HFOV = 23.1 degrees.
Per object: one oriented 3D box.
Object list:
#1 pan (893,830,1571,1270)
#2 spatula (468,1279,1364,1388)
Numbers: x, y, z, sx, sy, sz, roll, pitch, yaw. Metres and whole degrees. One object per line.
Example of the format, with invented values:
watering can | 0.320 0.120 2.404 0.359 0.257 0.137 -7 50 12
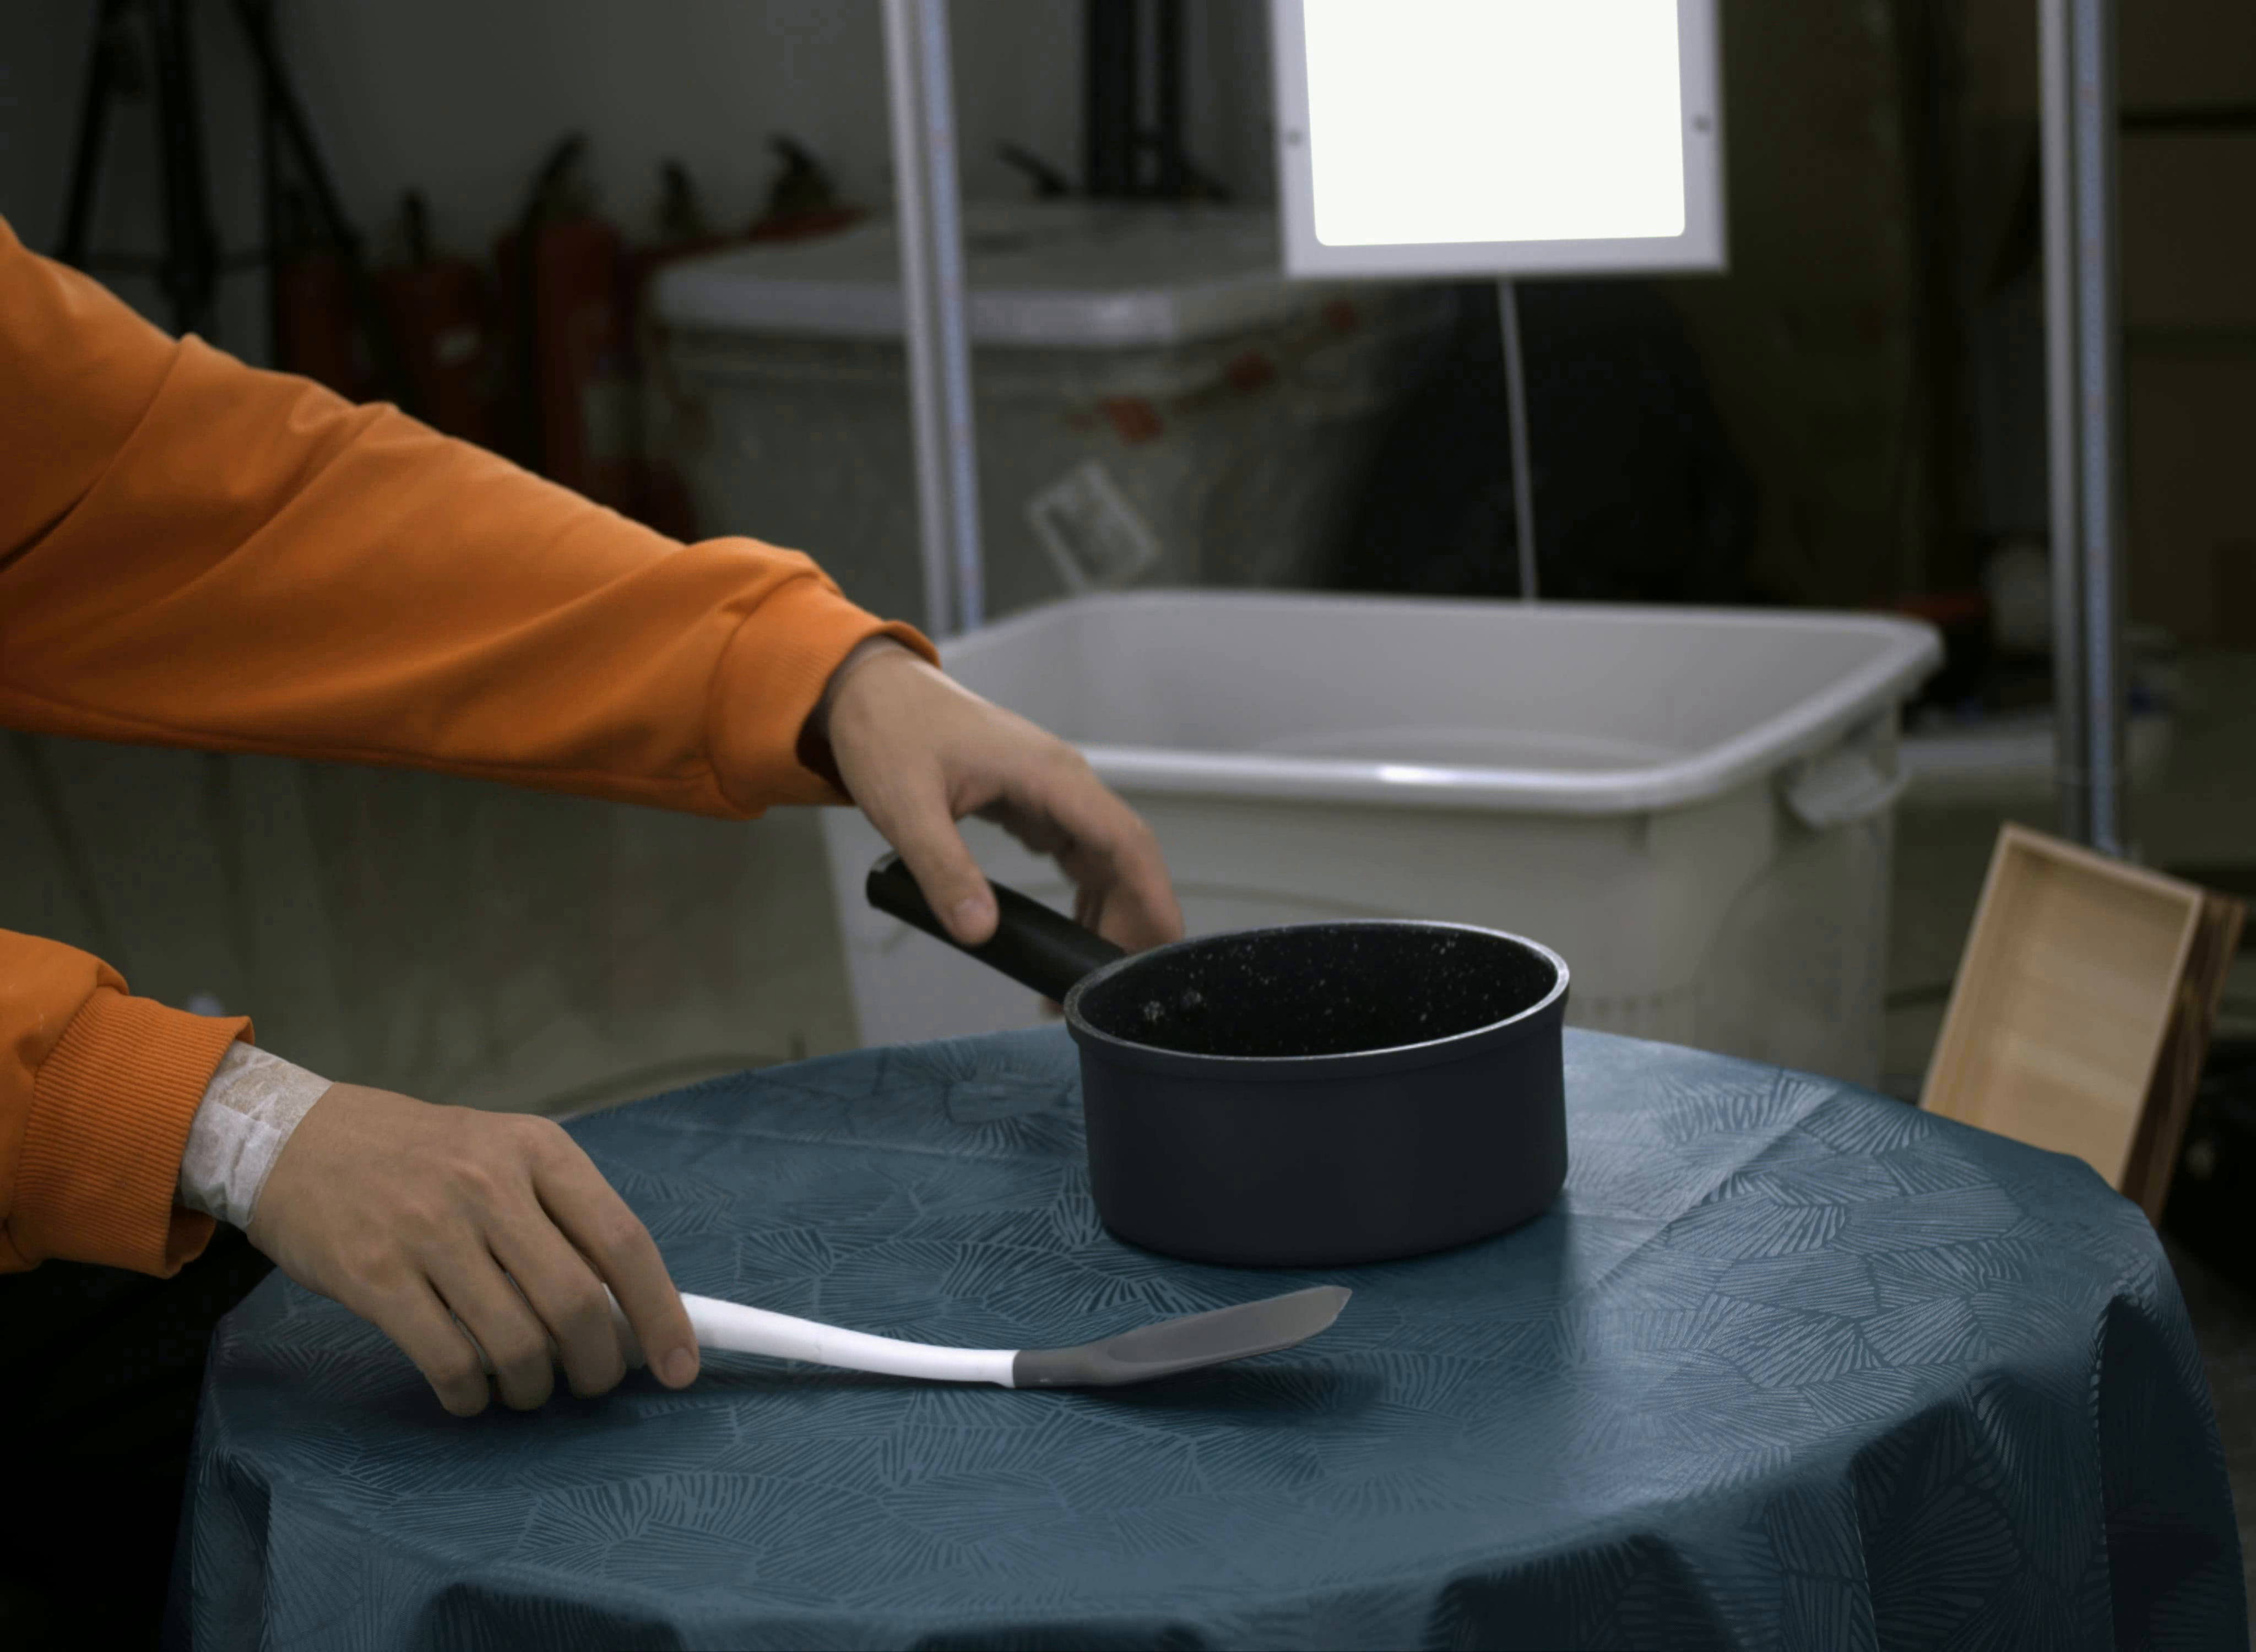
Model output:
pan | 0.020 0.073 1.926 0.168 0.087 0.335 -13 18 -33
spatula | -0.068 0.159 1.723 0.291 0.032 0.058 -1 12 18
